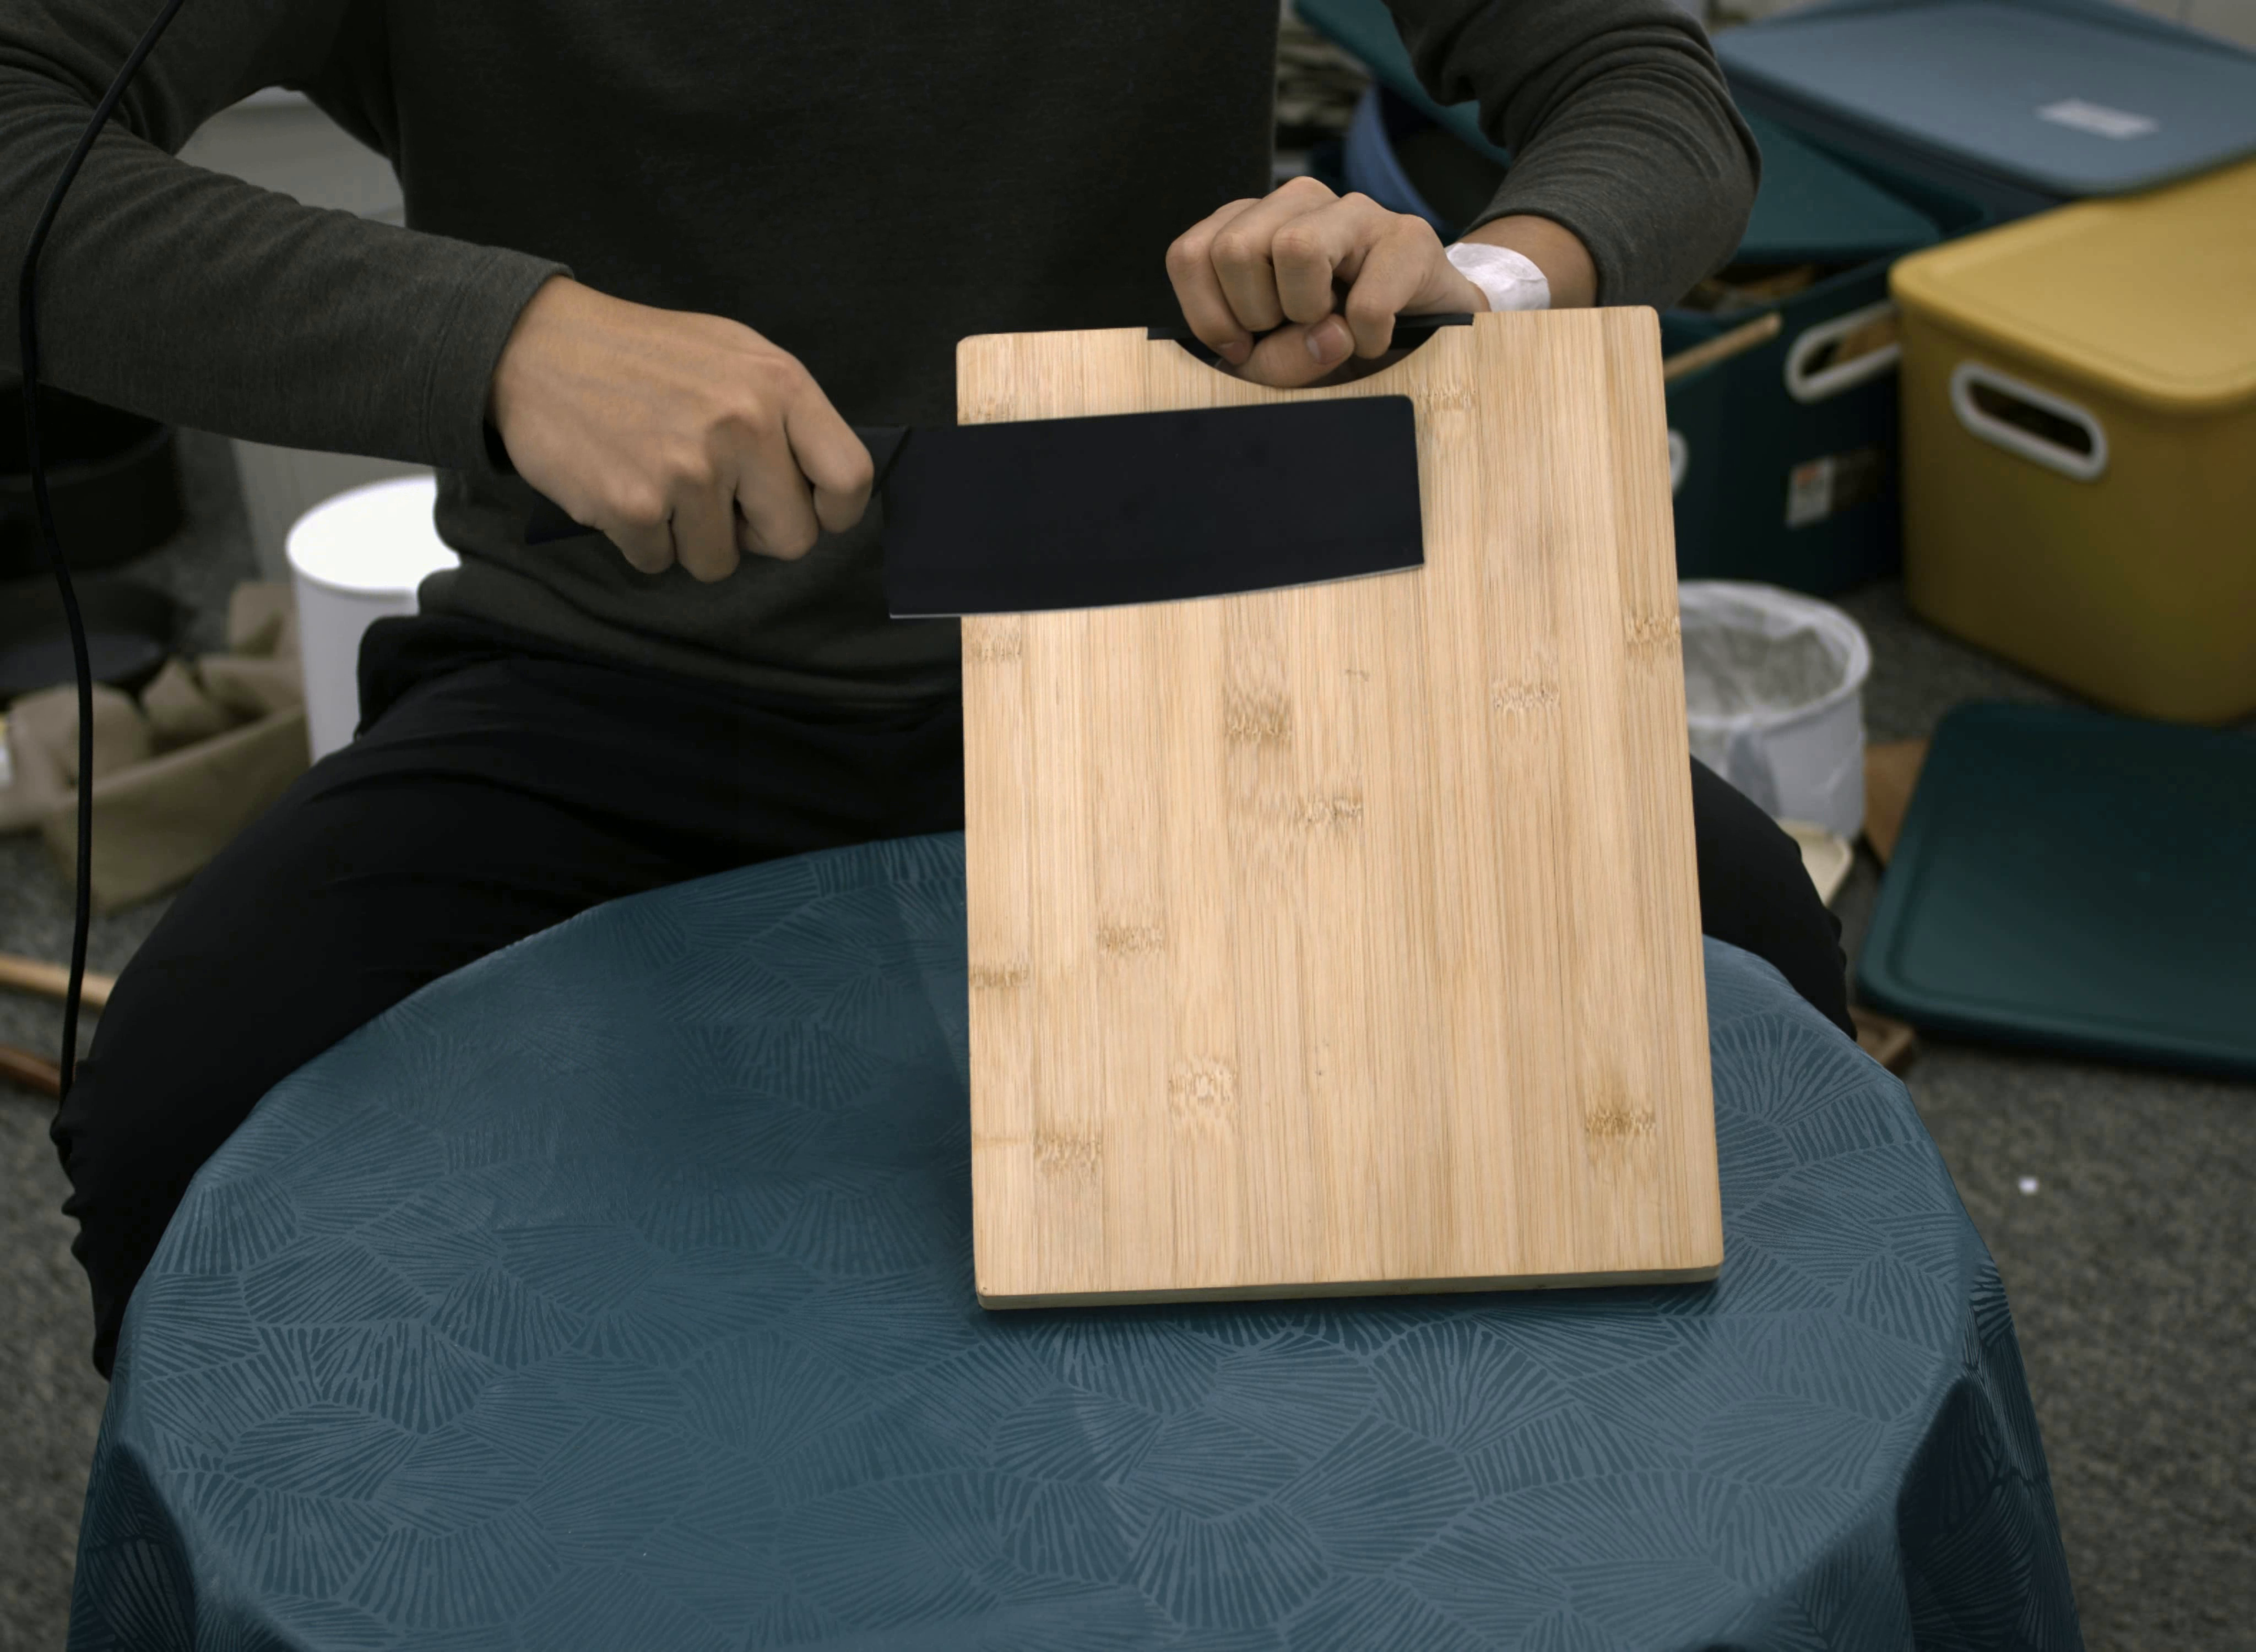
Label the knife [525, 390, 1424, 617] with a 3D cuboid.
[{"bbox_3d":[-0.051,-0.108,1.885,0.301,0.082,0.020,0,-15,1],"label":"knife"}]

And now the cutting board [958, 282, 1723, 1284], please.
[{"bbox_3d":[0.066,-0.016,1.860,0.249,0.023,0.354,-3,67,0],"label":"cutting board"}]
